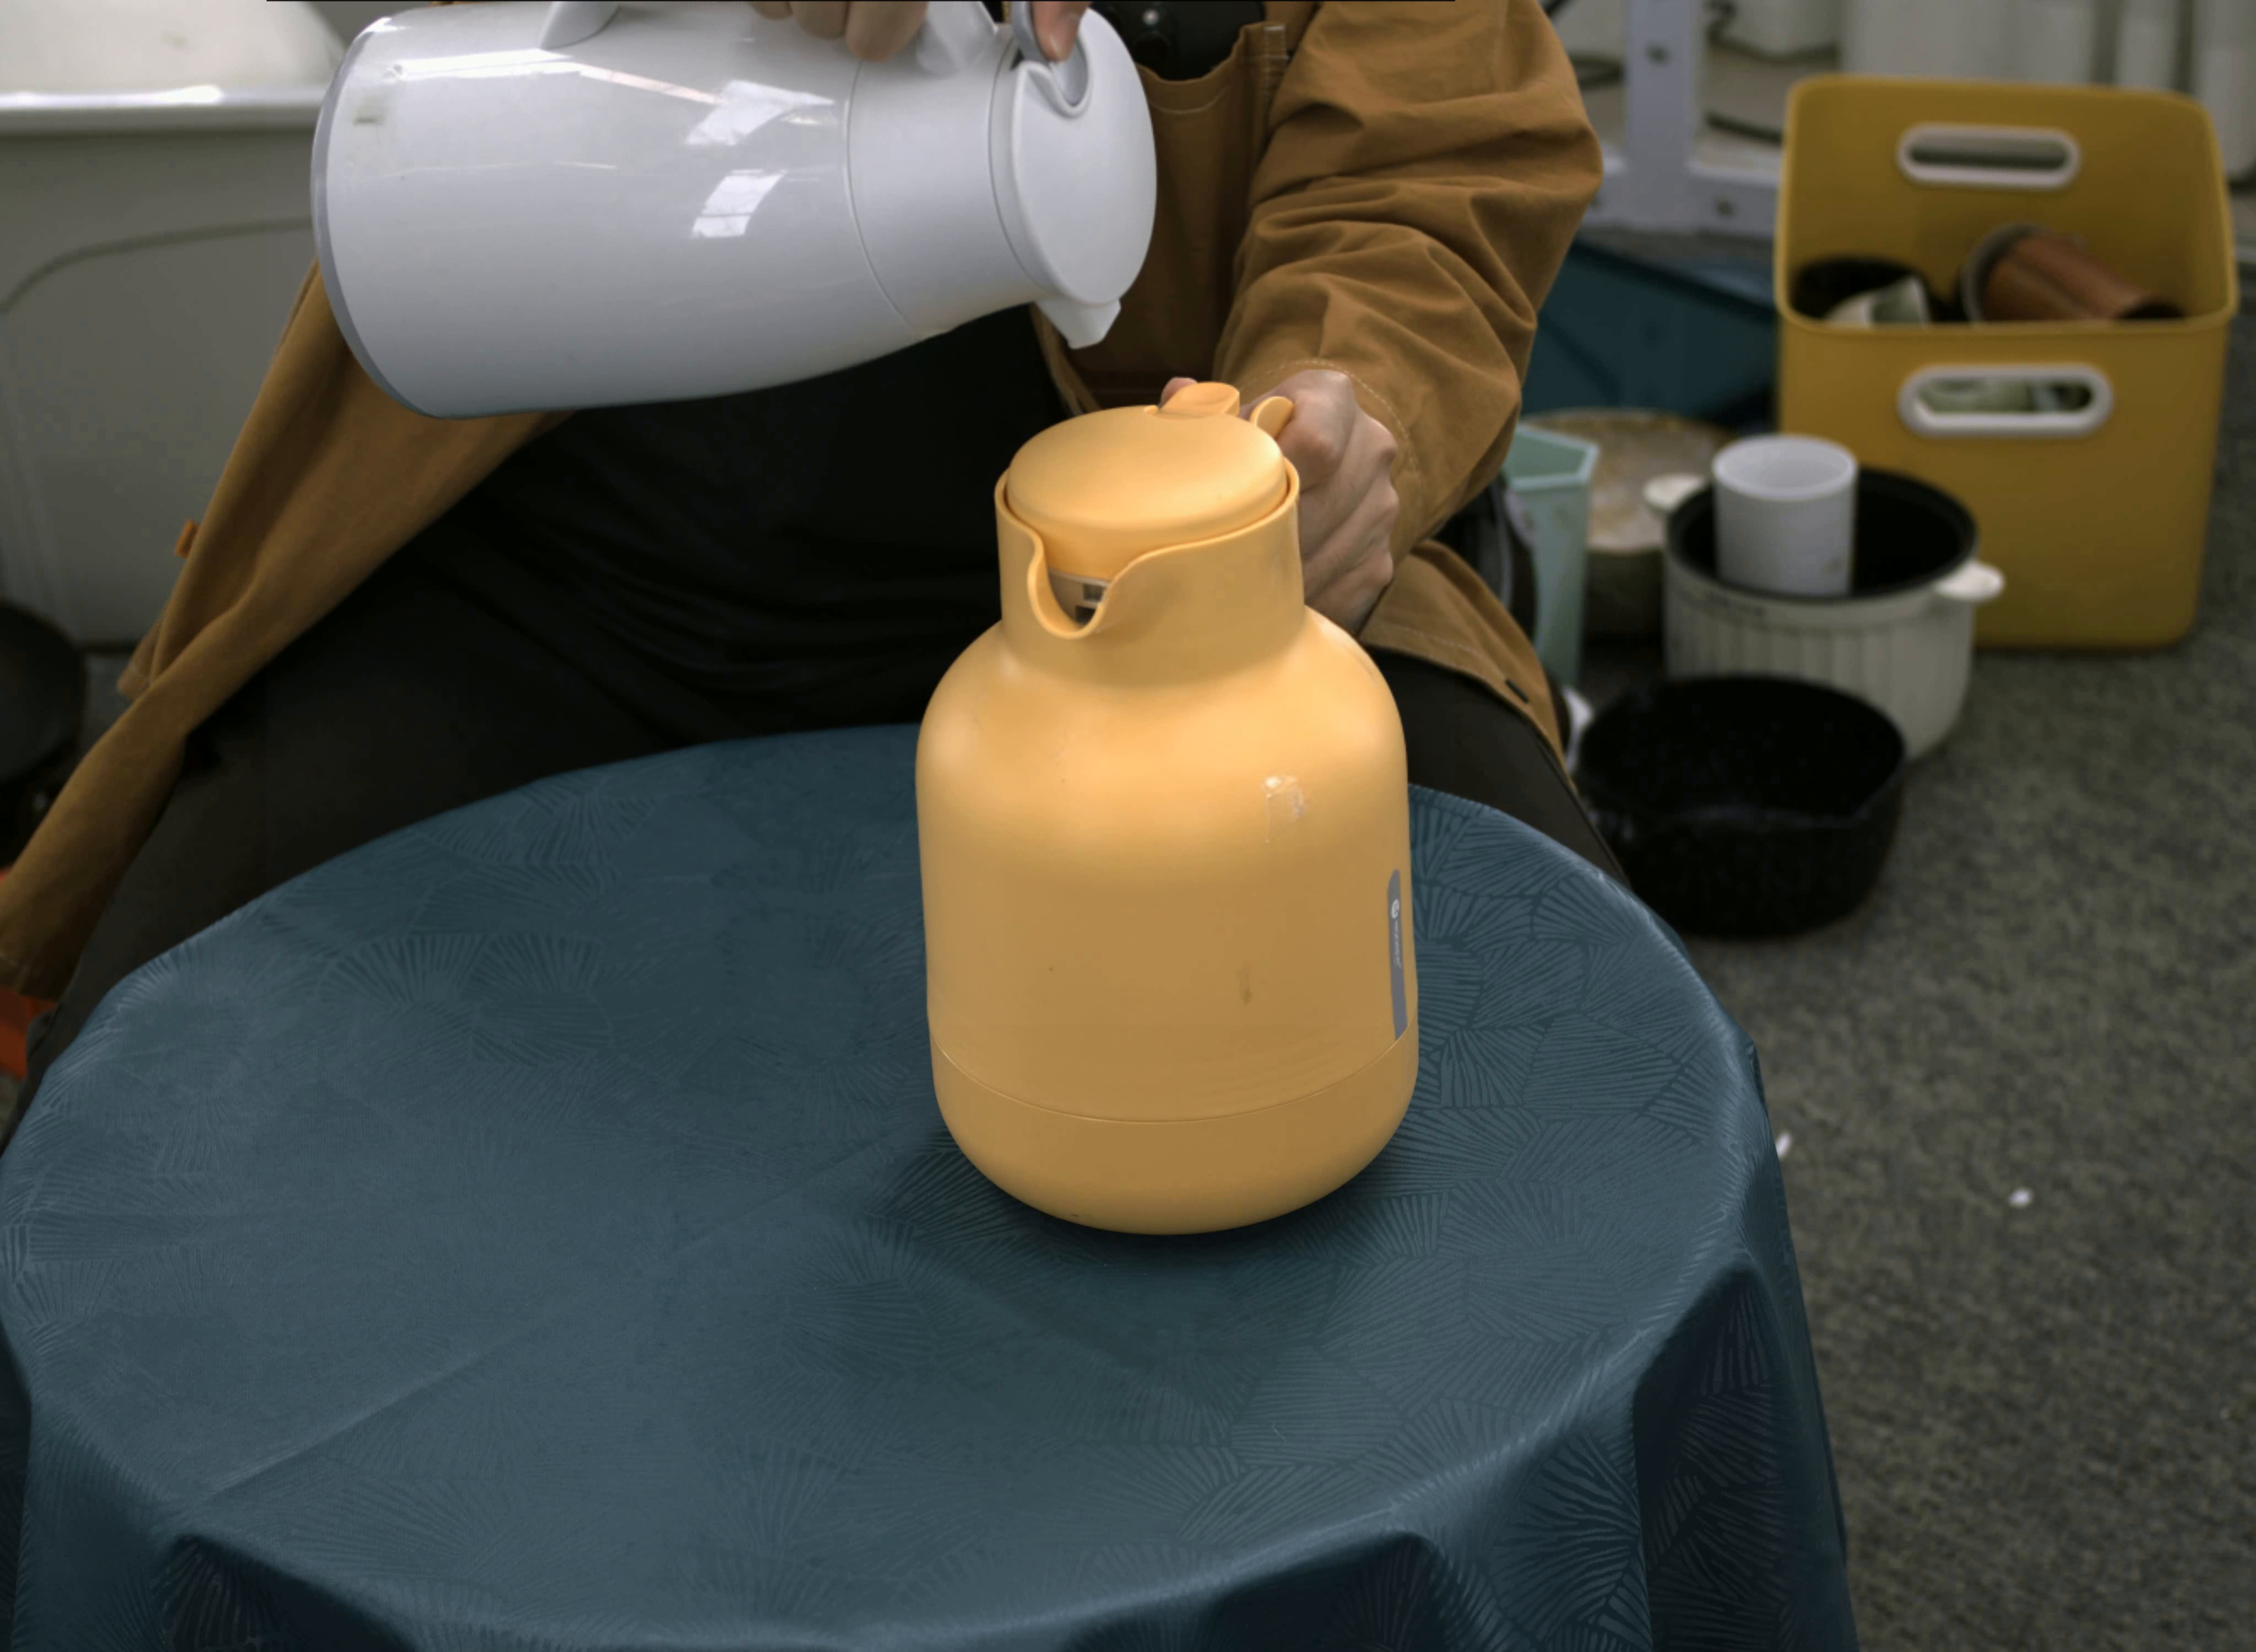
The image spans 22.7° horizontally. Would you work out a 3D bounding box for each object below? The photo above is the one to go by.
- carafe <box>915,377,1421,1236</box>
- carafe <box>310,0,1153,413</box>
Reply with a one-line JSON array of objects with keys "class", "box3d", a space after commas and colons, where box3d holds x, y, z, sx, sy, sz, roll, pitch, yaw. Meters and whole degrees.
[{"class": "carafe", "box3d": [0.020, -0.015, 1.844, 0.162, 0.257, 0.206, 10, 30, 21]}, {"class": "carafe", "box3d": [-0.123, -0.215, 1.749, 0.246, 0.166, 0.135, -2, 38, 27]}]
